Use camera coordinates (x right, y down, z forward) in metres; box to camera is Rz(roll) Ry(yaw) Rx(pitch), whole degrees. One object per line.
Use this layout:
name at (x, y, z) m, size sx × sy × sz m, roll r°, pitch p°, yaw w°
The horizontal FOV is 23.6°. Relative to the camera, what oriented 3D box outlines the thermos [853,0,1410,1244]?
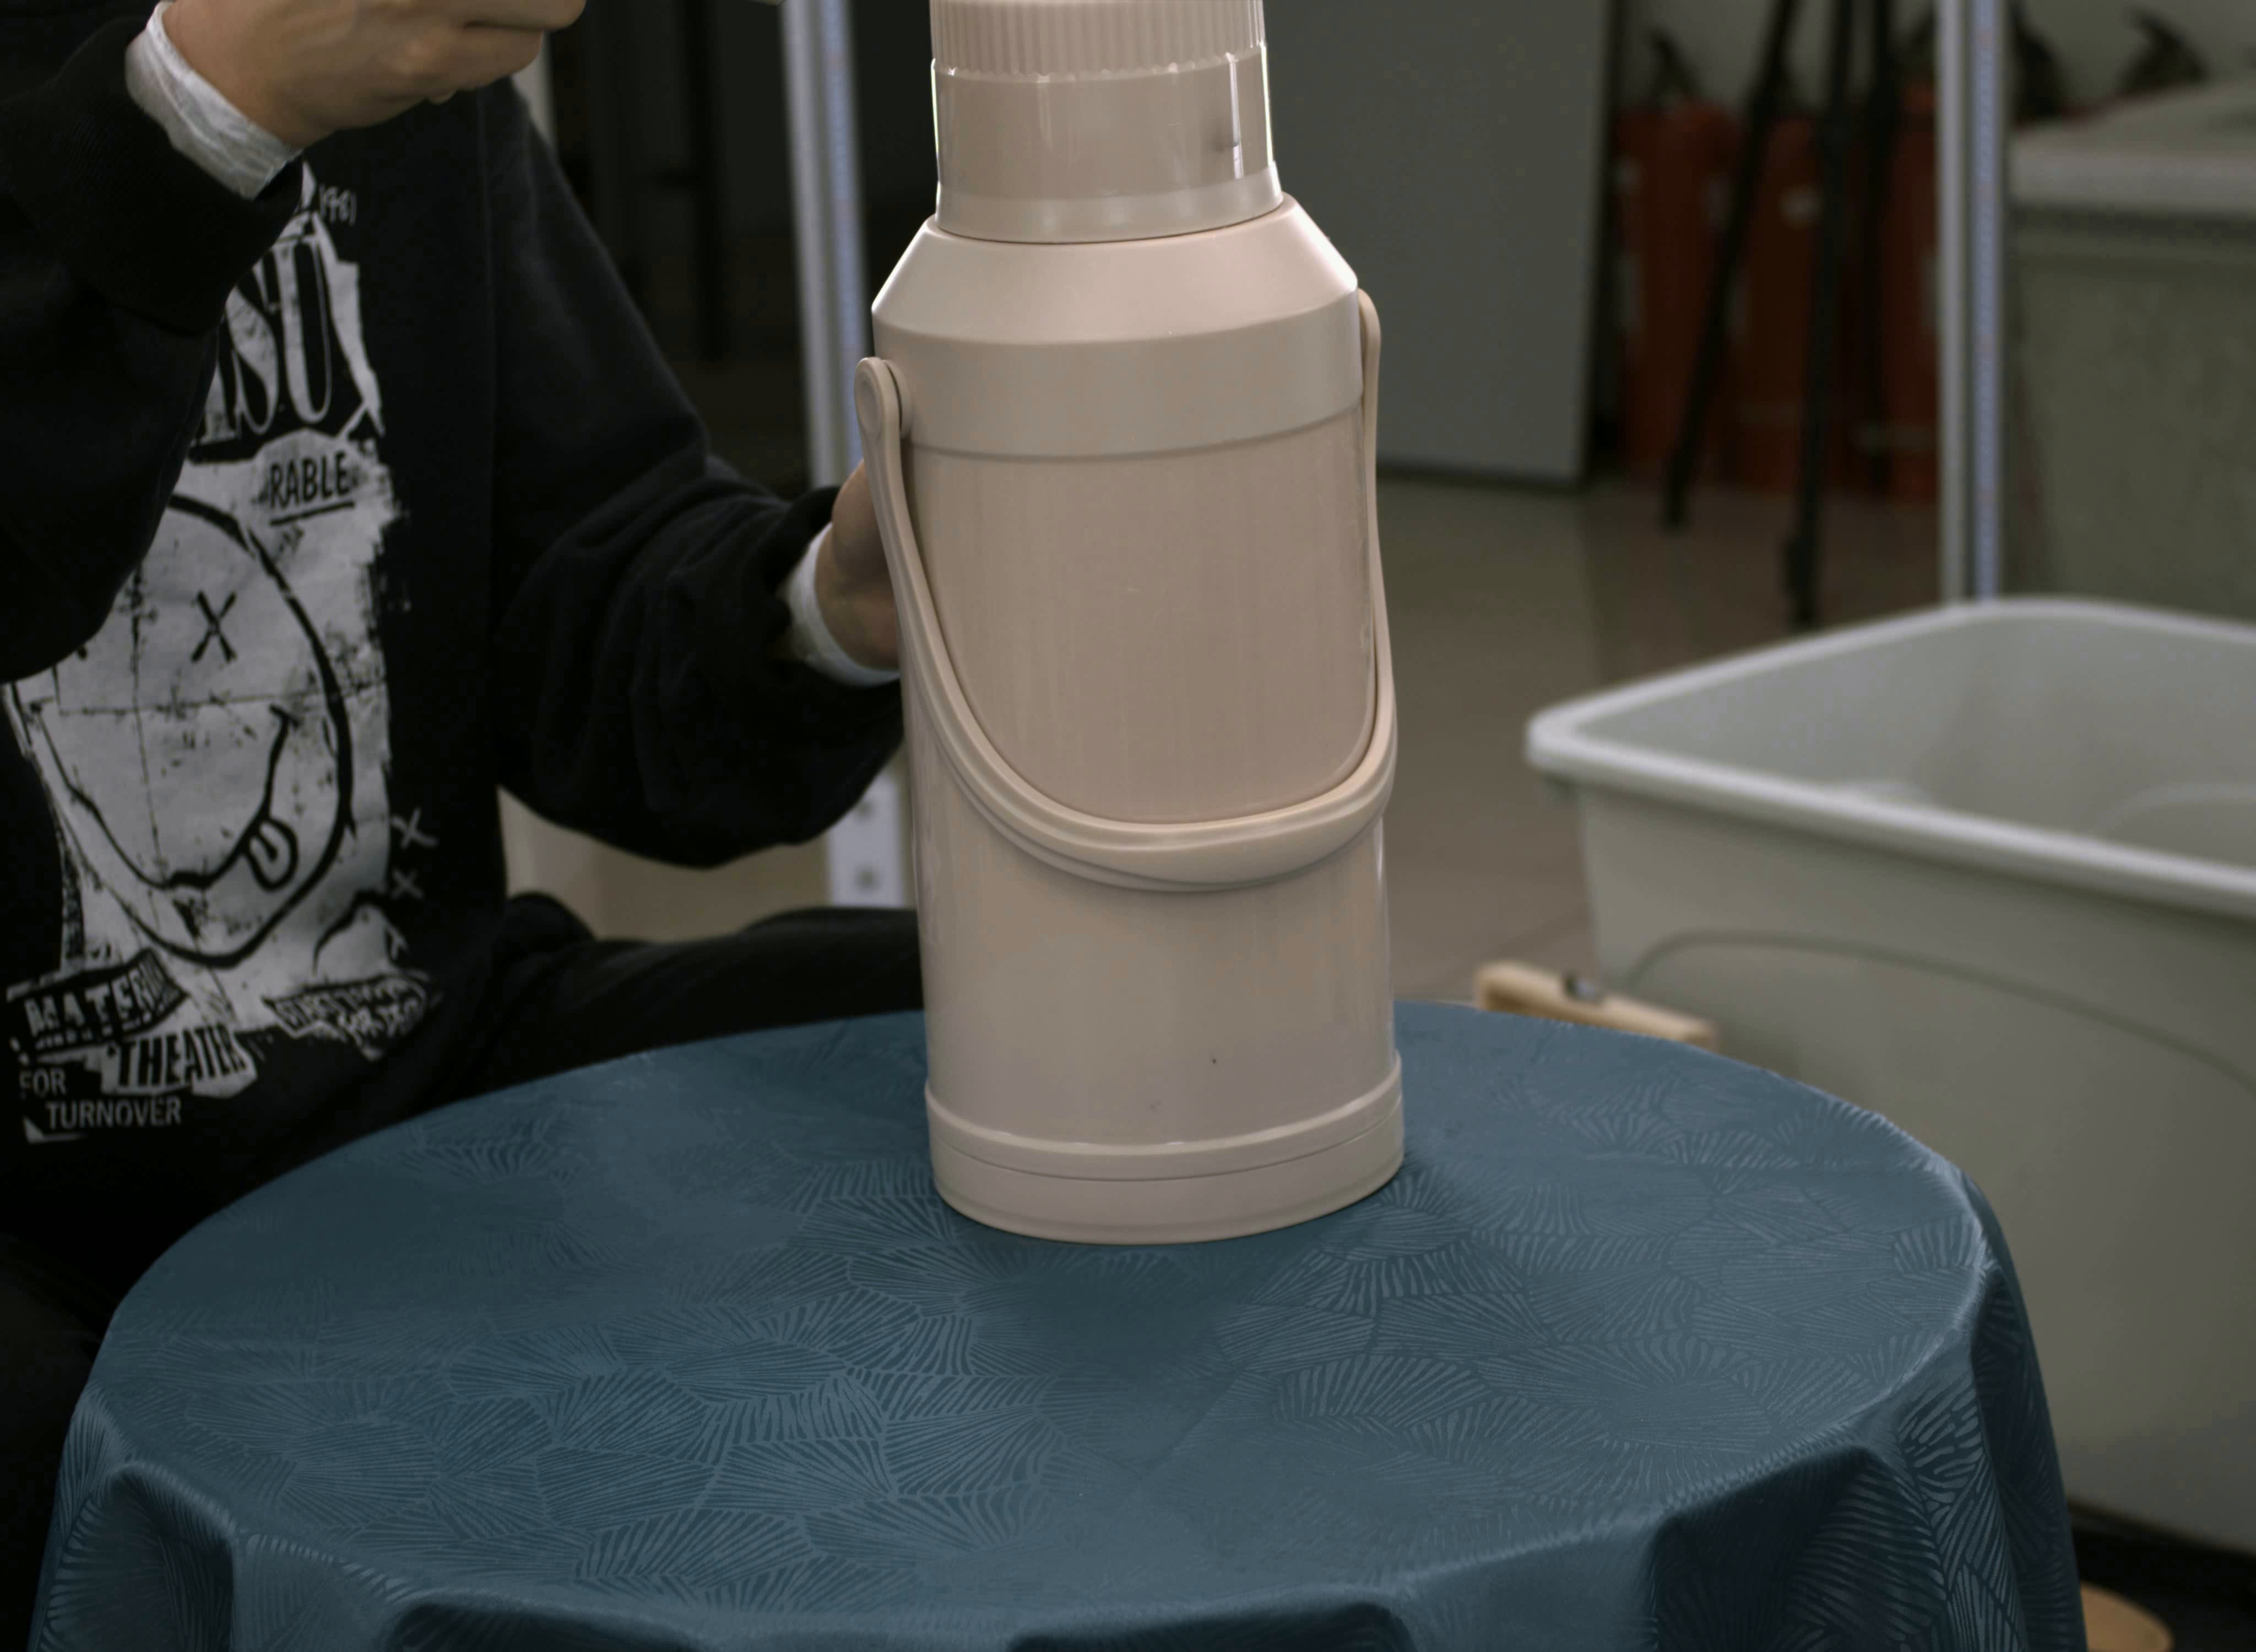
thermos at (-0.003, -0.083, 1.758) m, size 0.172 × 0.410 × 0.209 m, roll -12°, pitch 17°, yaw -22°
